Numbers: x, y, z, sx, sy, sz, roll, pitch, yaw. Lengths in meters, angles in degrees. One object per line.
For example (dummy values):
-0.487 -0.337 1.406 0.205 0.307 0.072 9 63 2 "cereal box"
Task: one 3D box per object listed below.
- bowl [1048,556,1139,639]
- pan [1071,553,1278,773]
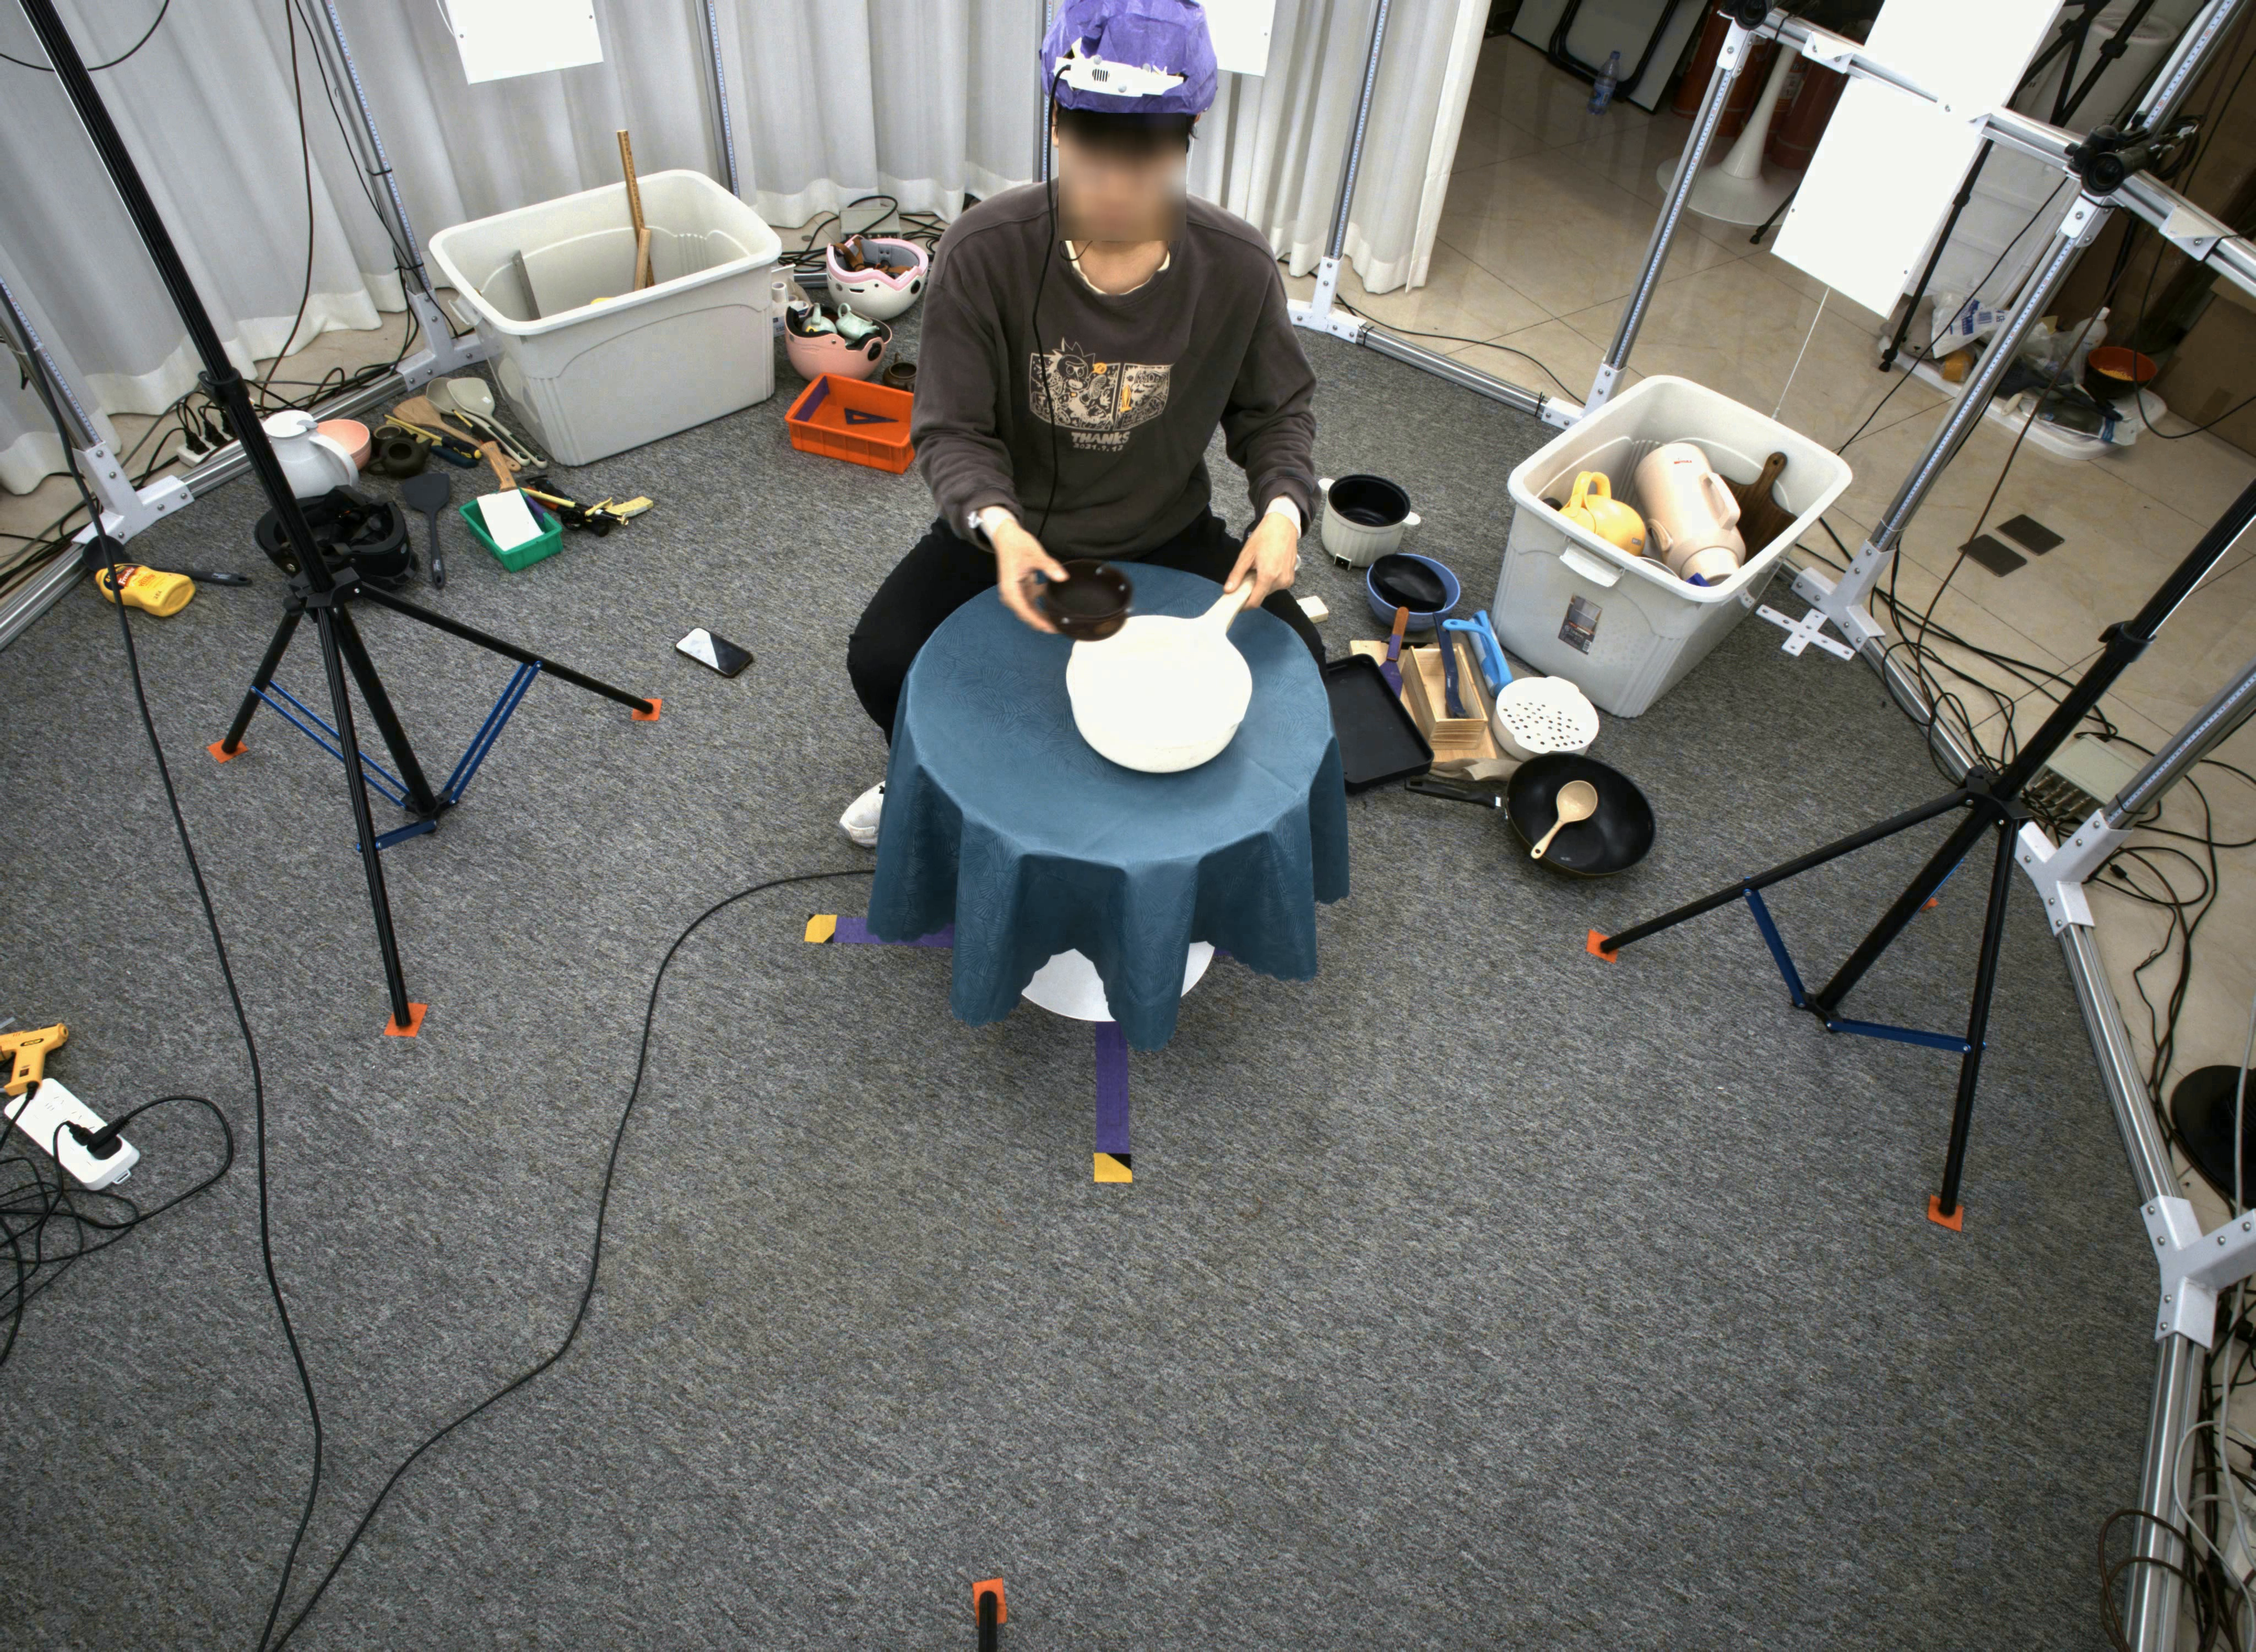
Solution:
-0.046 -0.290 1.682 0.118 0.068 0.121 2 48 -2 "bowl"
0.096 -0.235 1.813 0.266 0.099 0.441 27 52 21 "pan"
